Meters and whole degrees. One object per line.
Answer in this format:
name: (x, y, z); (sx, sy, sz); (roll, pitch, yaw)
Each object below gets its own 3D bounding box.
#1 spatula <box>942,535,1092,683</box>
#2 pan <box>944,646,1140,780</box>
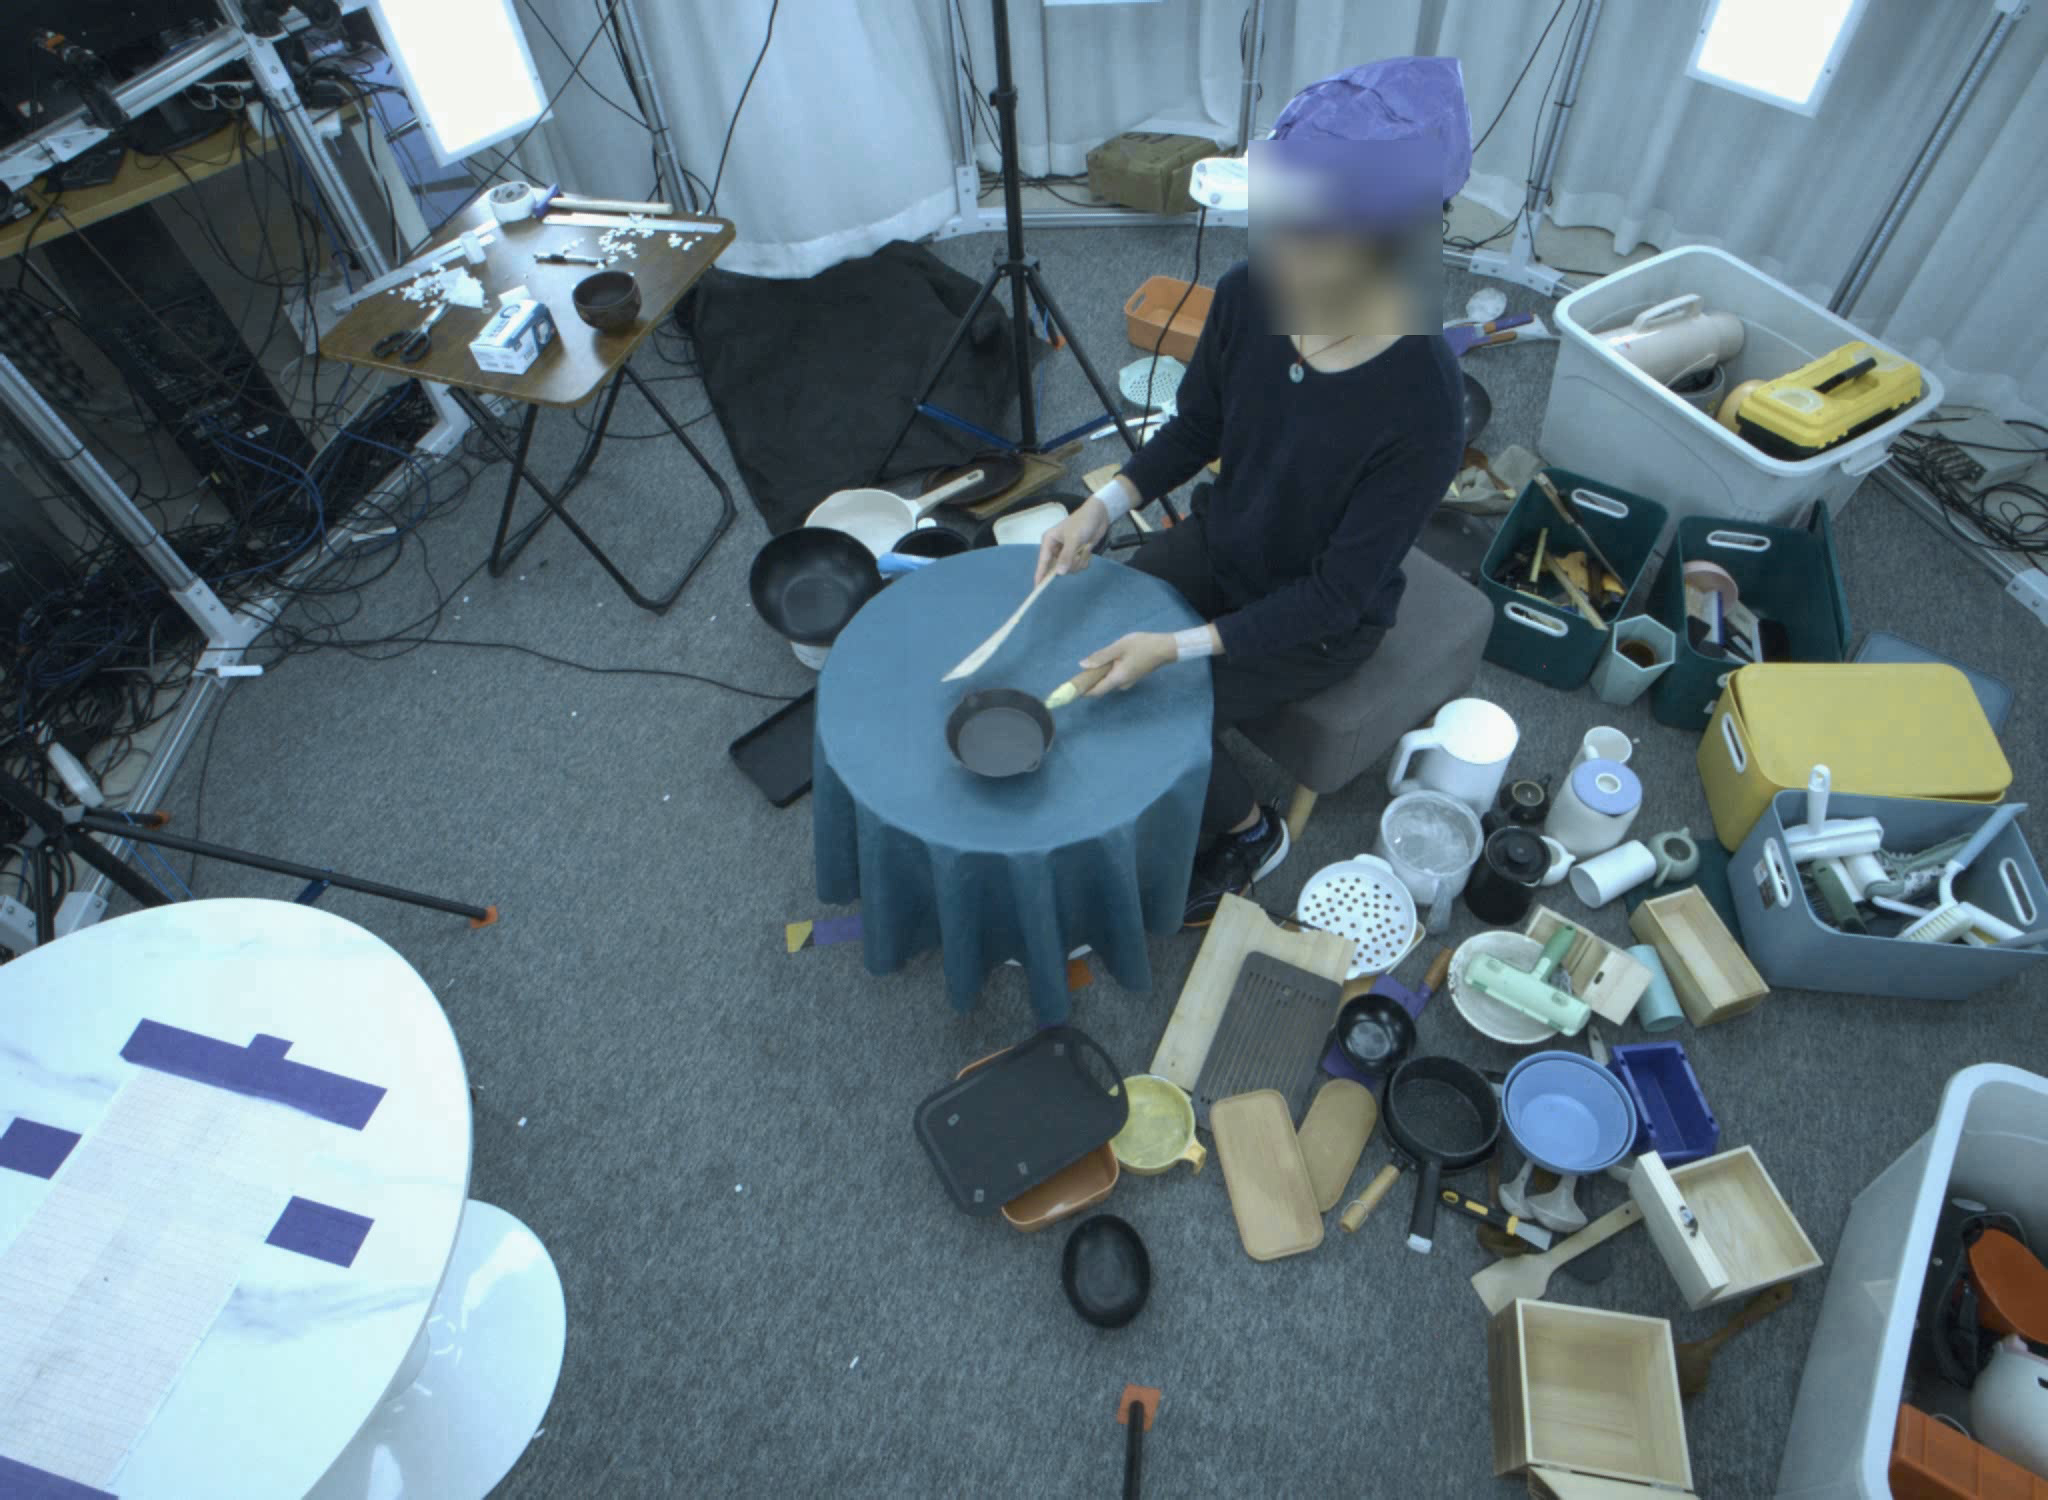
spatula: (-0.002, -0.213, 1.840); (0.328, 0.017, 0.078); (-50, 25, -17)
pan: (0.036, -0.063, 1.764); (0.327, 0.050, 0.166); (-30, 60, -18)
